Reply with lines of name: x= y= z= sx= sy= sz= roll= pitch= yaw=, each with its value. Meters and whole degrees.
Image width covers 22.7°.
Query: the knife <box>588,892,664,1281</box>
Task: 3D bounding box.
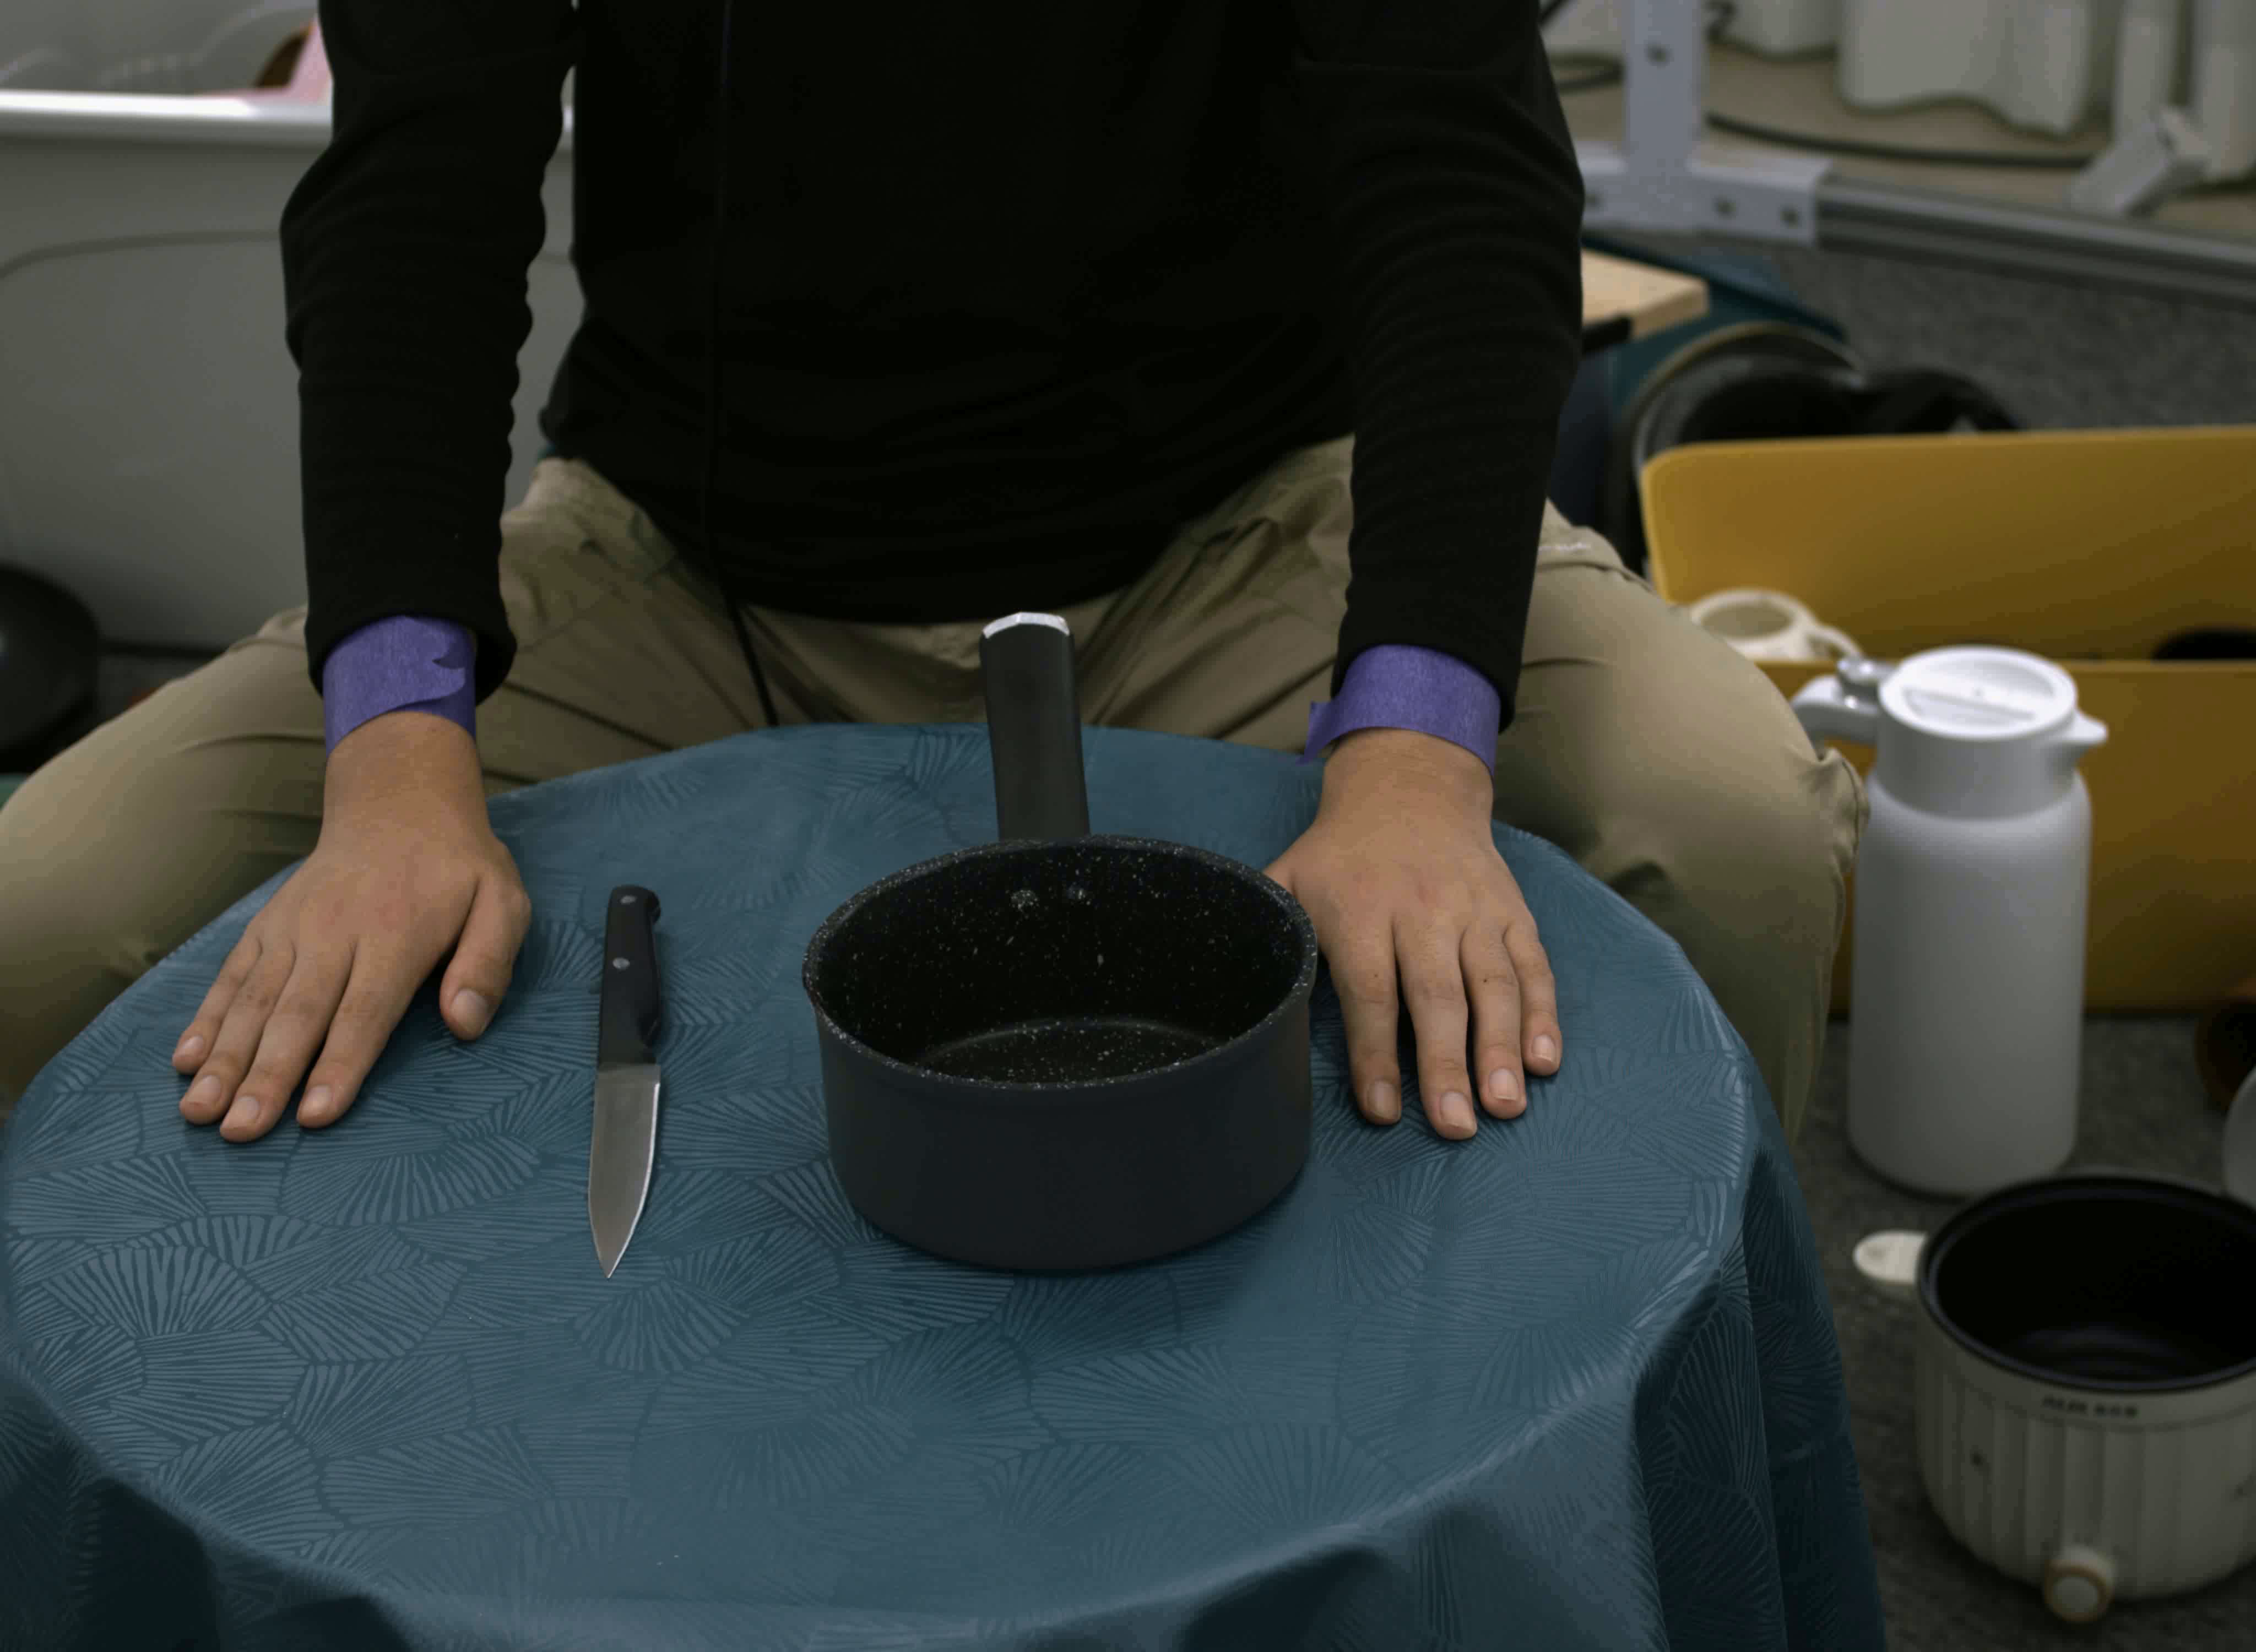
knife: x=-0.173 y=0.088 z=1.929 sx=0.024 sy=0.016 sz=0.242 roll=-2 pitch=30 yaw=-1

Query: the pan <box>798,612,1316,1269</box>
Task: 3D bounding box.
pan: x=-0.023 y=0.036 z=1.937 sx=0.171 sy=0.085 sz=0.334 roll=-2 pitch=28 yaw=1
